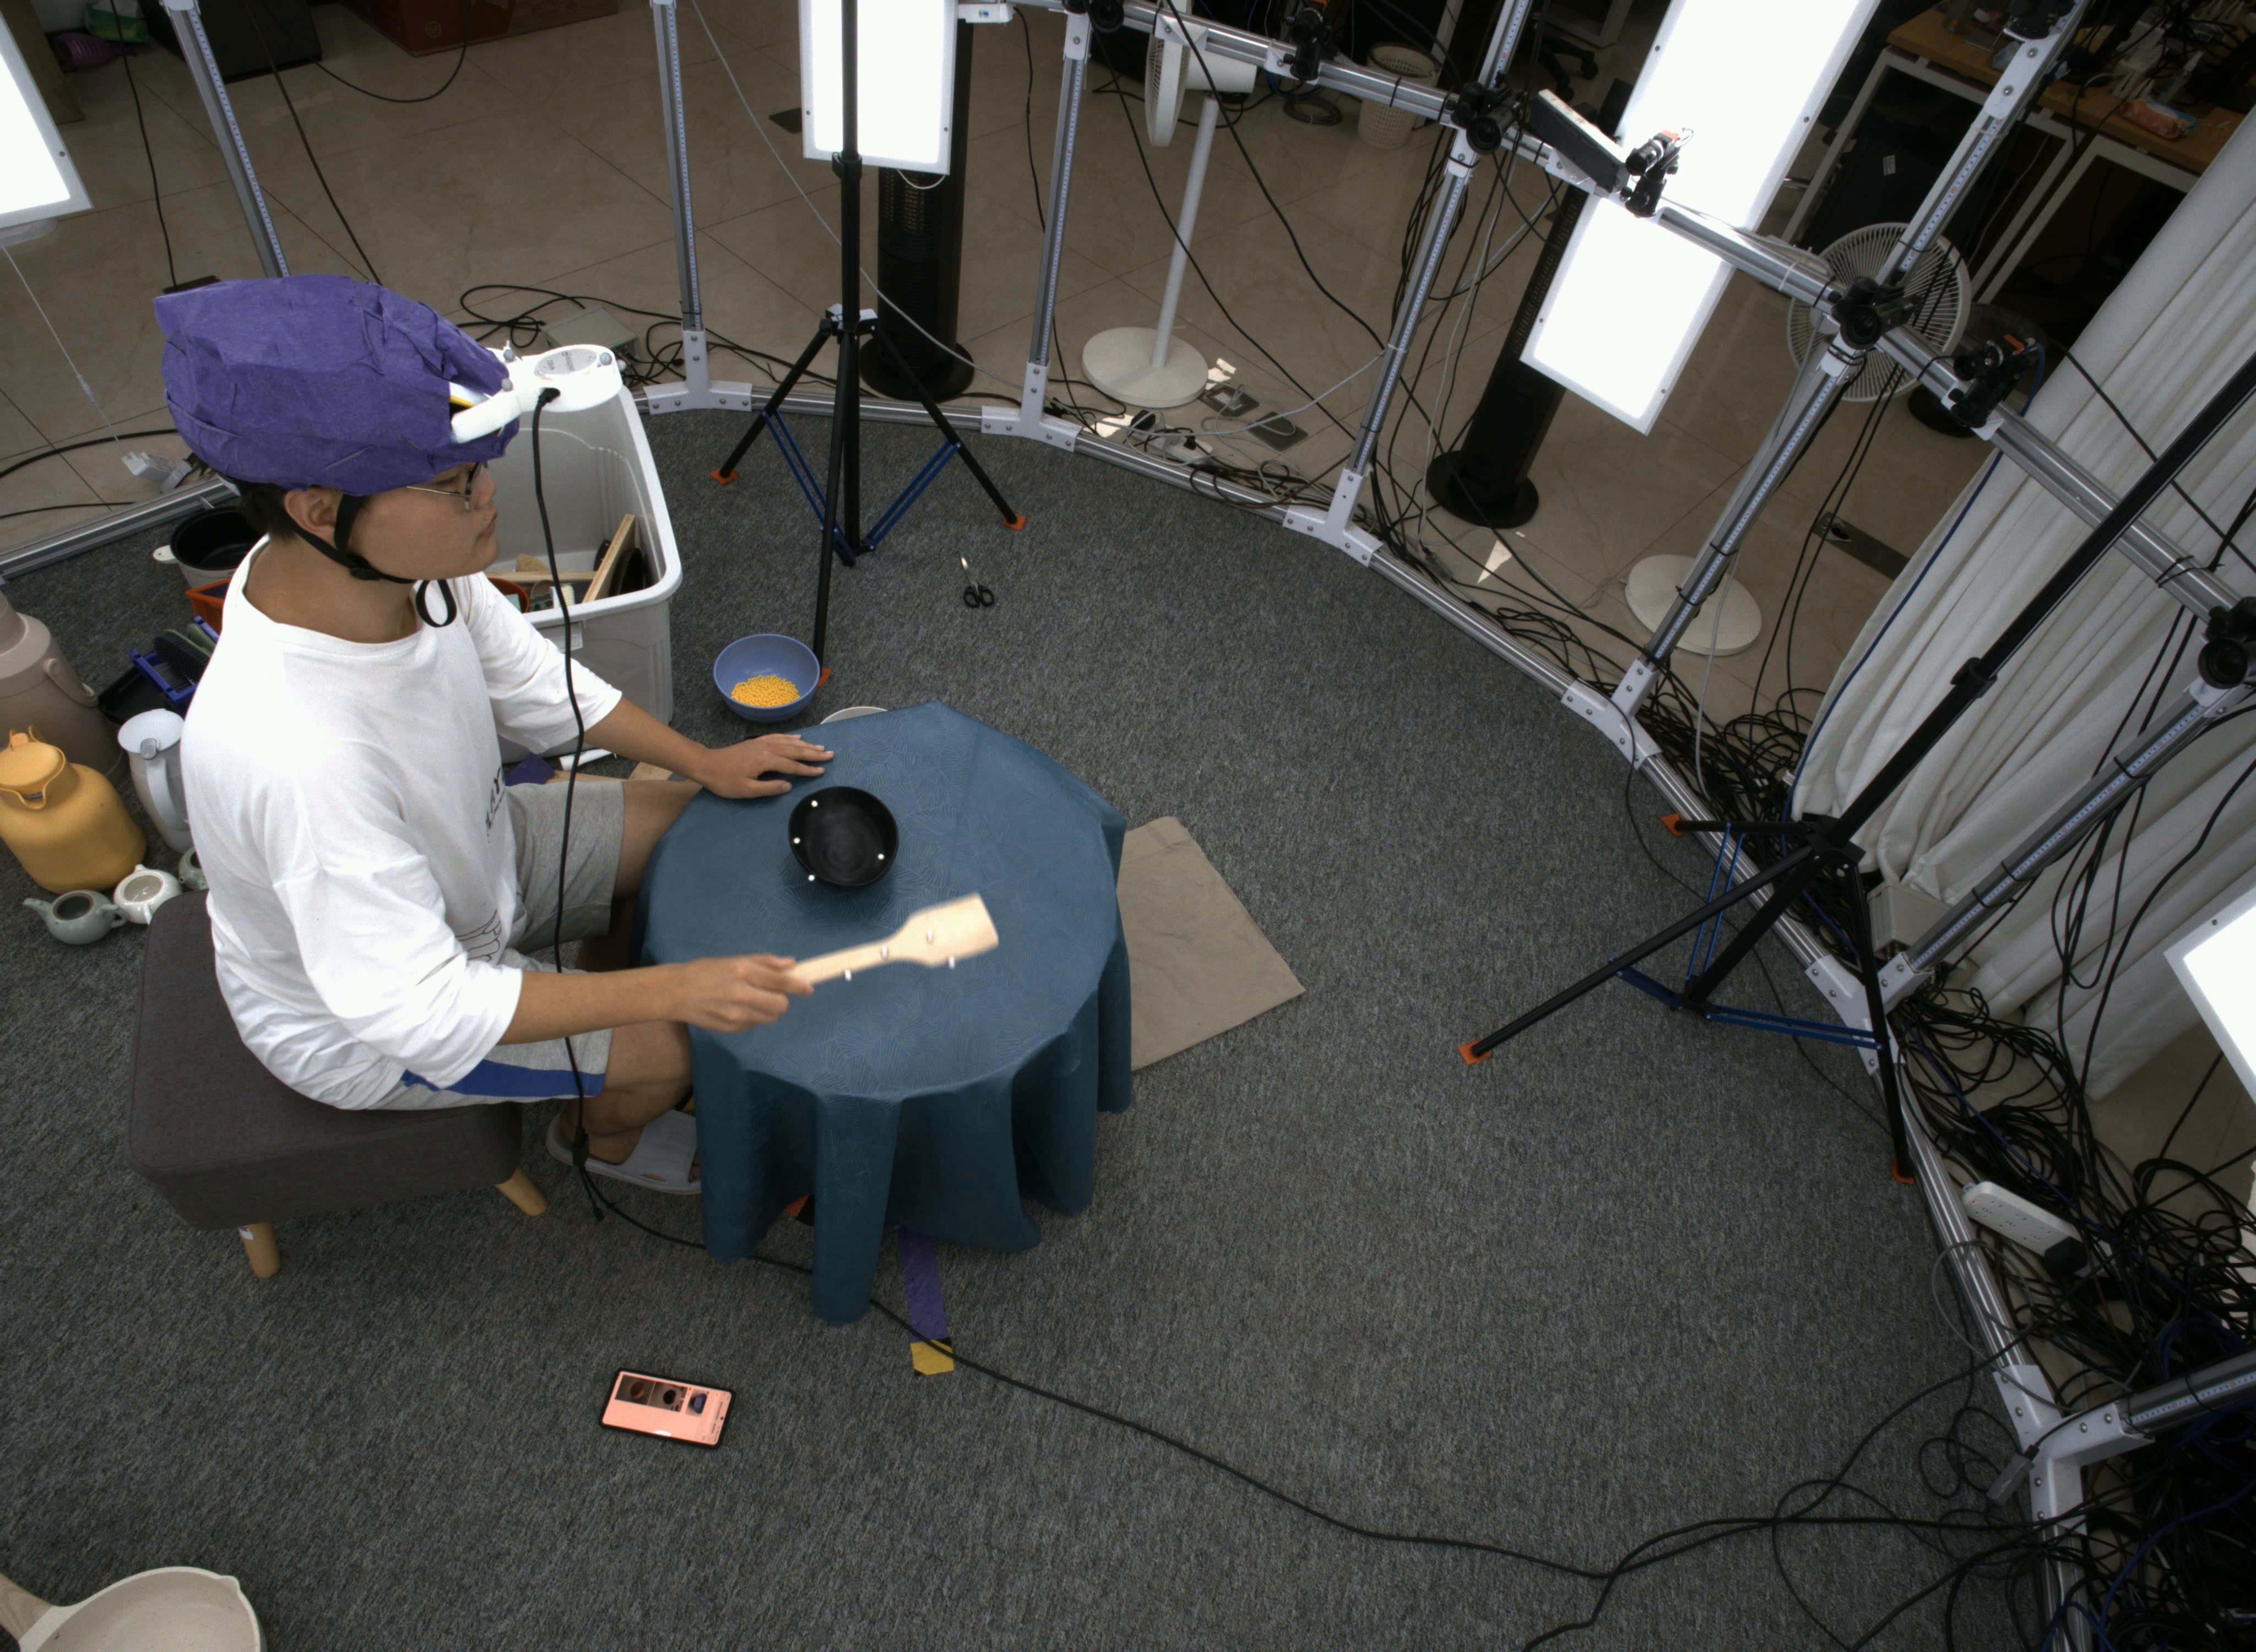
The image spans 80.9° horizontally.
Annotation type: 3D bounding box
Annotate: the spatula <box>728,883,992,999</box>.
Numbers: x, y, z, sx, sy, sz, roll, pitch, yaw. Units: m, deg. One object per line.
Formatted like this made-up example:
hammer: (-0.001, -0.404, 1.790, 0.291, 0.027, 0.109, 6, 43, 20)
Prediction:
spatula: (-0.294, 0.132, 1.427, 0.294, 0.011, 0.070, -17, 62, -23)

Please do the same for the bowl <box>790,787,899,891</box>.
bowl: (-0.369, 0.024, 1.689, 0.138, 0.068, 0.166, -14, 56, -21)
